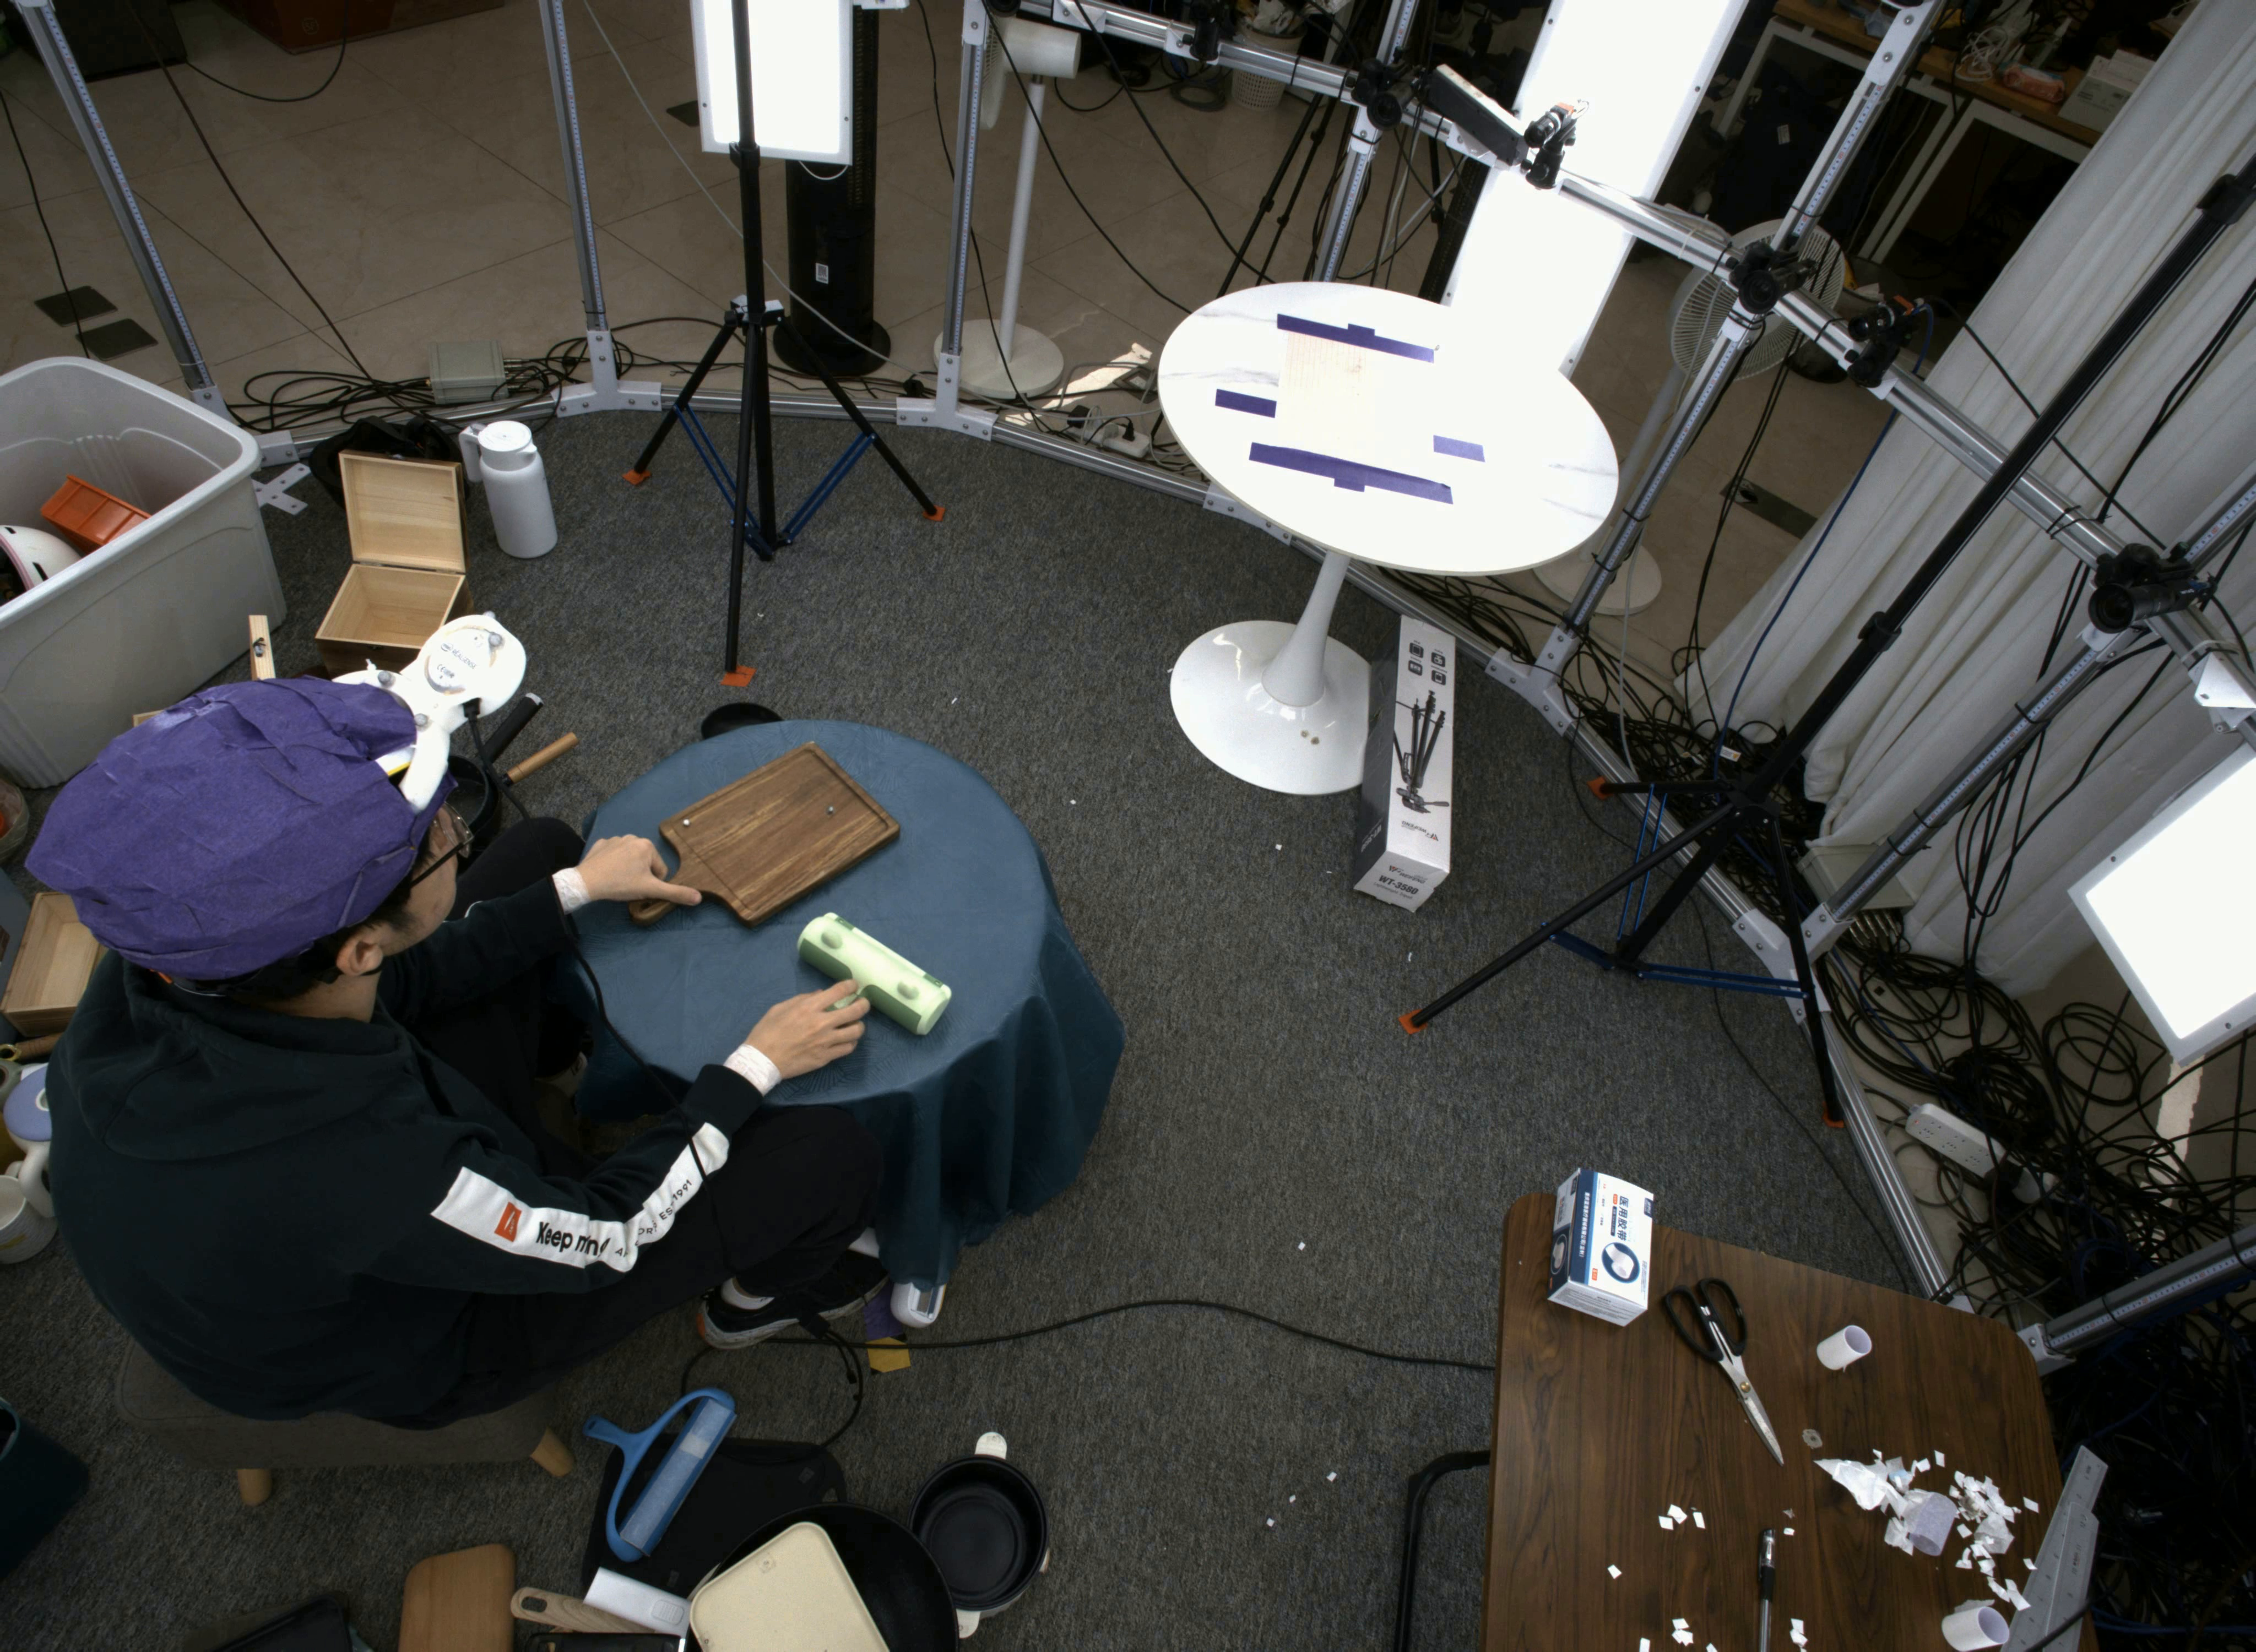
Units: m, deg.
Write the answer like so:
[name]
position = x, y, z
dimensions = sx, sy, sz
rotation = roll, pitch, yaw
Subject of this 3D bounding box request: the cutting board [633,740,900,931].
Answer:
[cutting board]
position = -0.489, 0.028, 1.674
dimensions = 0.197, 0.023, 0.353
rotation = 42, 54, 16

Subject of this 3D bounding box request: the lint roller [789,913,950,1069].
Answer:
[lint roller]
position = -0.341, 0.206, 1.550
dimensions = 0.195, 0.084, 0.183
rotation = 32, 48, 10
